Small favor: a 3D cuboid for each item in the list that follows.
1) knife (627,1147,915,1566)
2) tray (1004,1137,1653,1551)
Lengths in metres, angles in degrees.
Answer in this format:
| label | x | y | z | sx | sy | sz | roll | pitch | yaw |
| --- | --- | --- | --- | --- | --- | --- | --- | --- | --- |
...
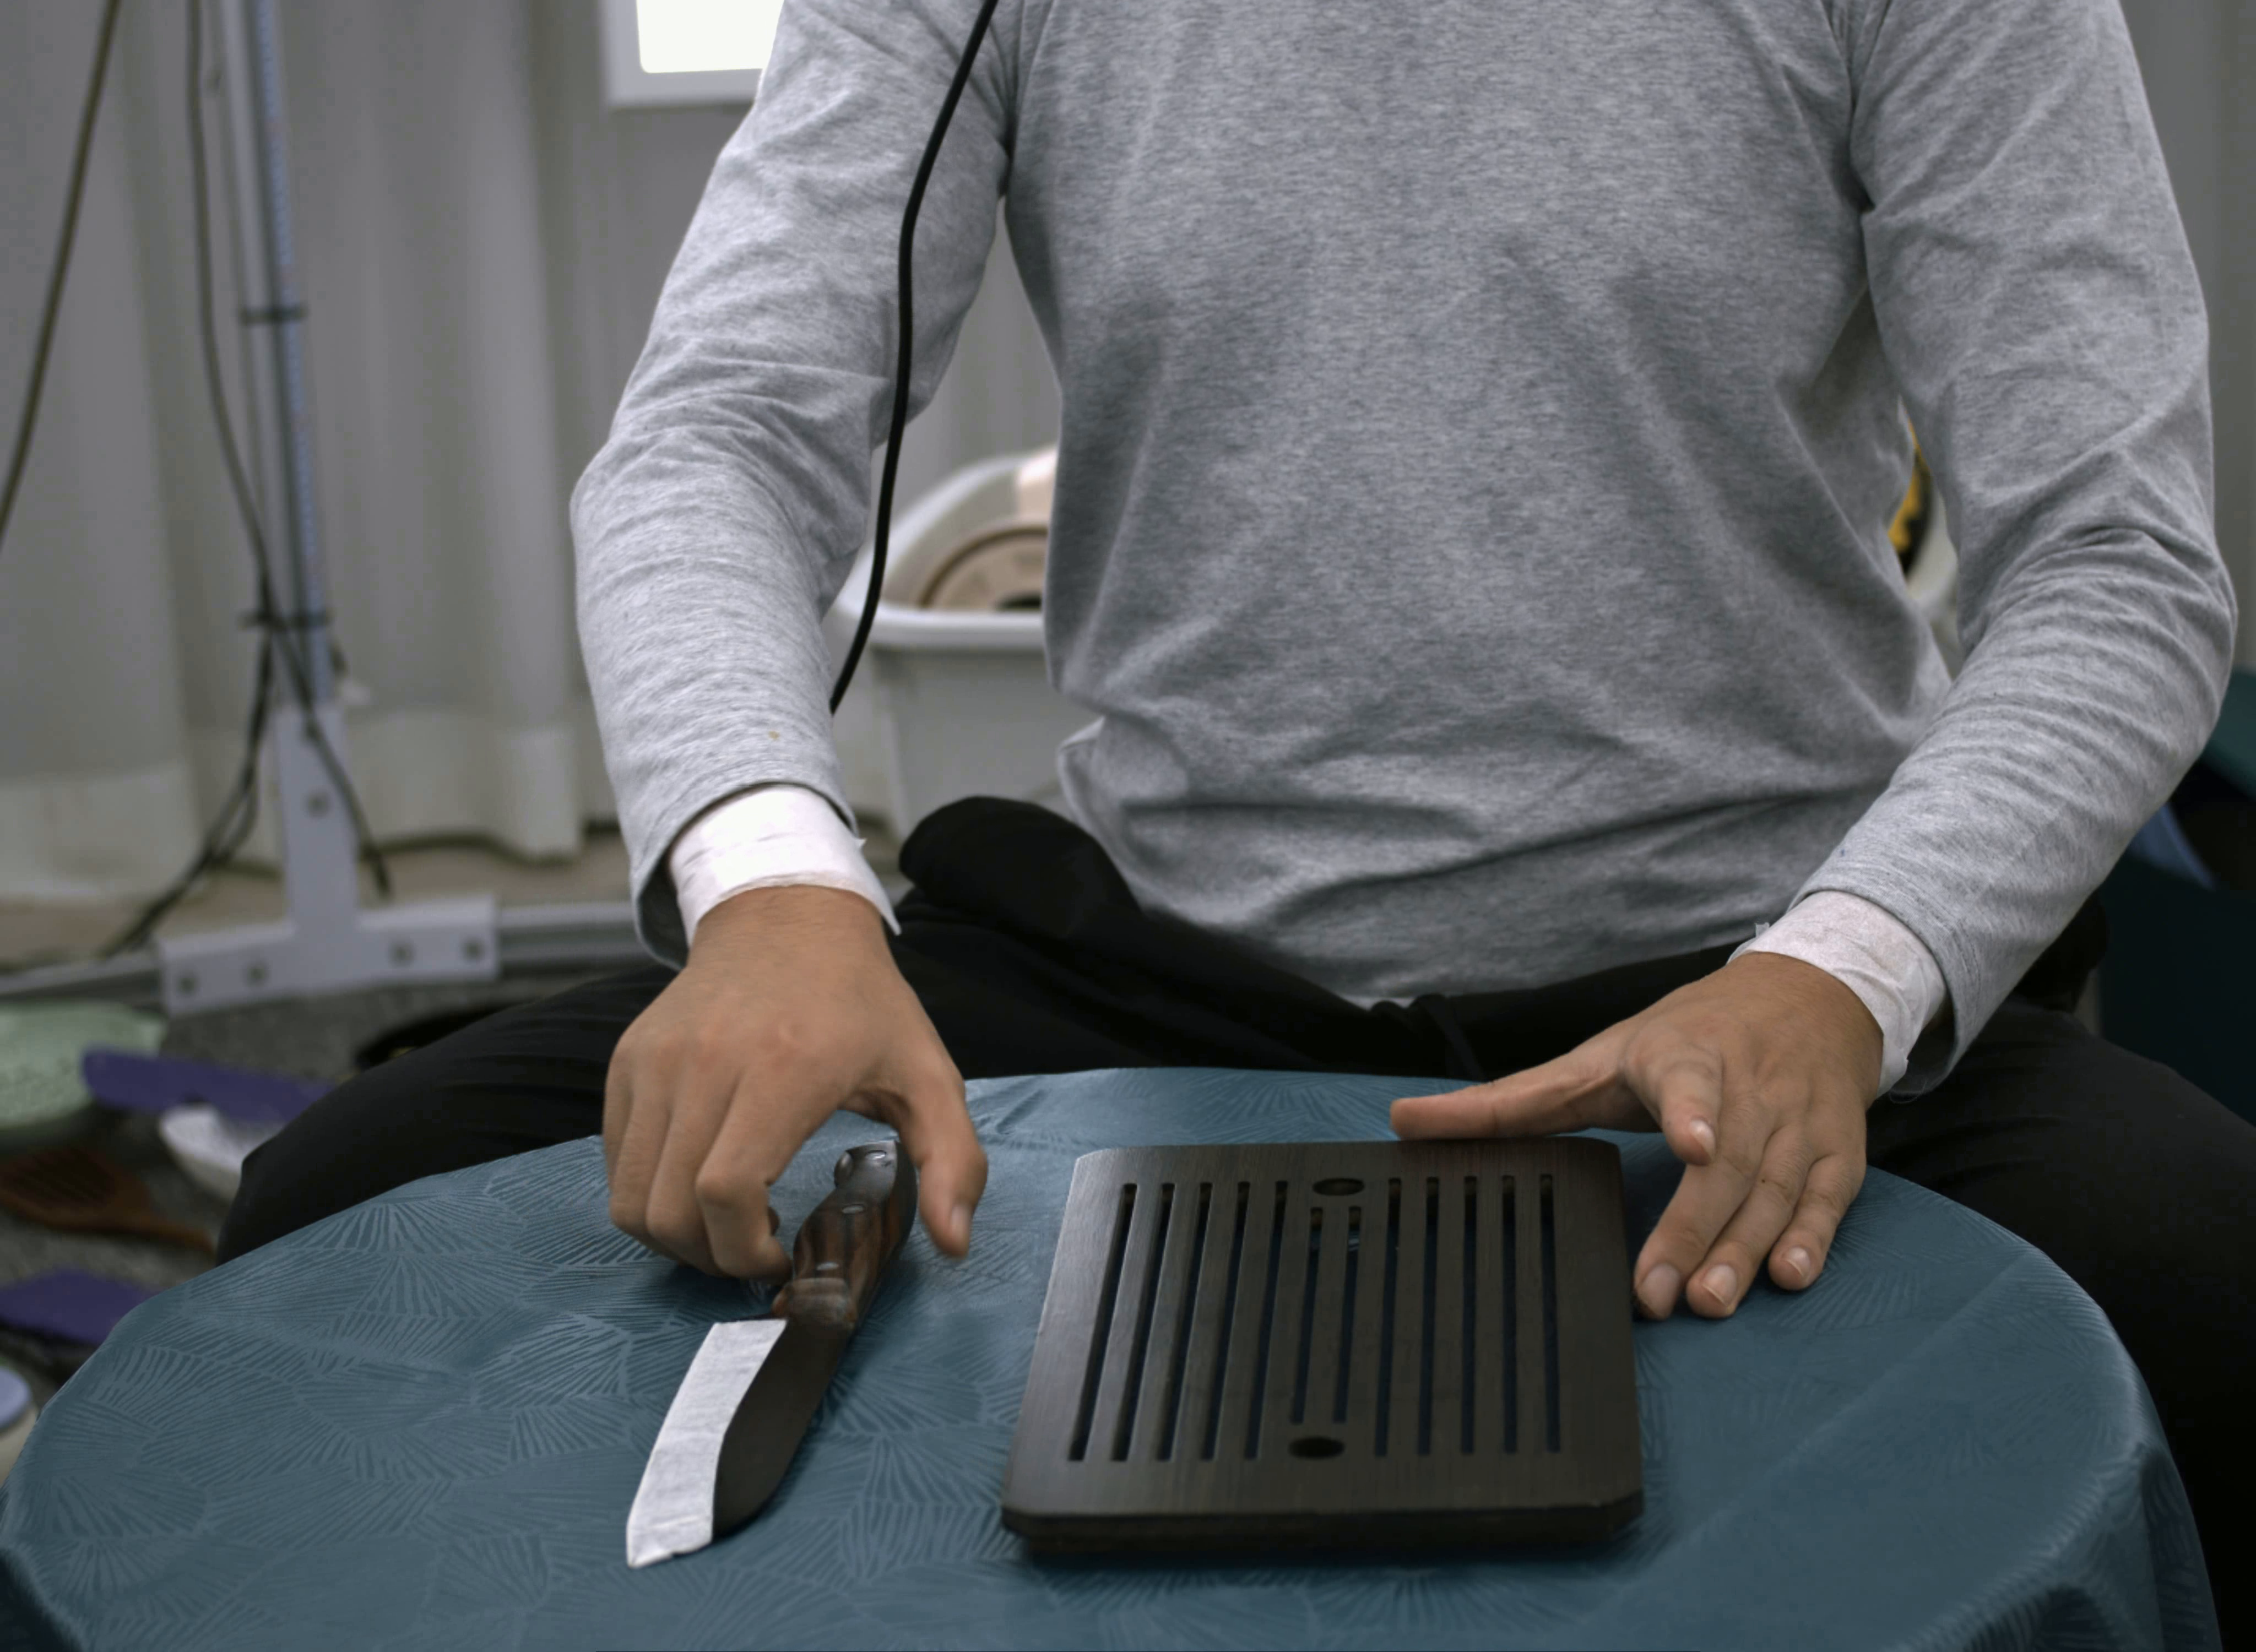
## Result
| label | x | y | z | sx | sy | sz | roll | pitch | yaw |
| --- | --- | --- | --- | --- | --- | --- | --- | --- | --- |
| knife | -0.100 | 0.151 | 1.571 | 0.050 | 0.020 | 0.291 | -5 | 16 | 12 |
| tray | 0.062 | 0.145 | 1.558 | 0.169 | 0.018 | 0.308 | -2 | 14 | 5 |
